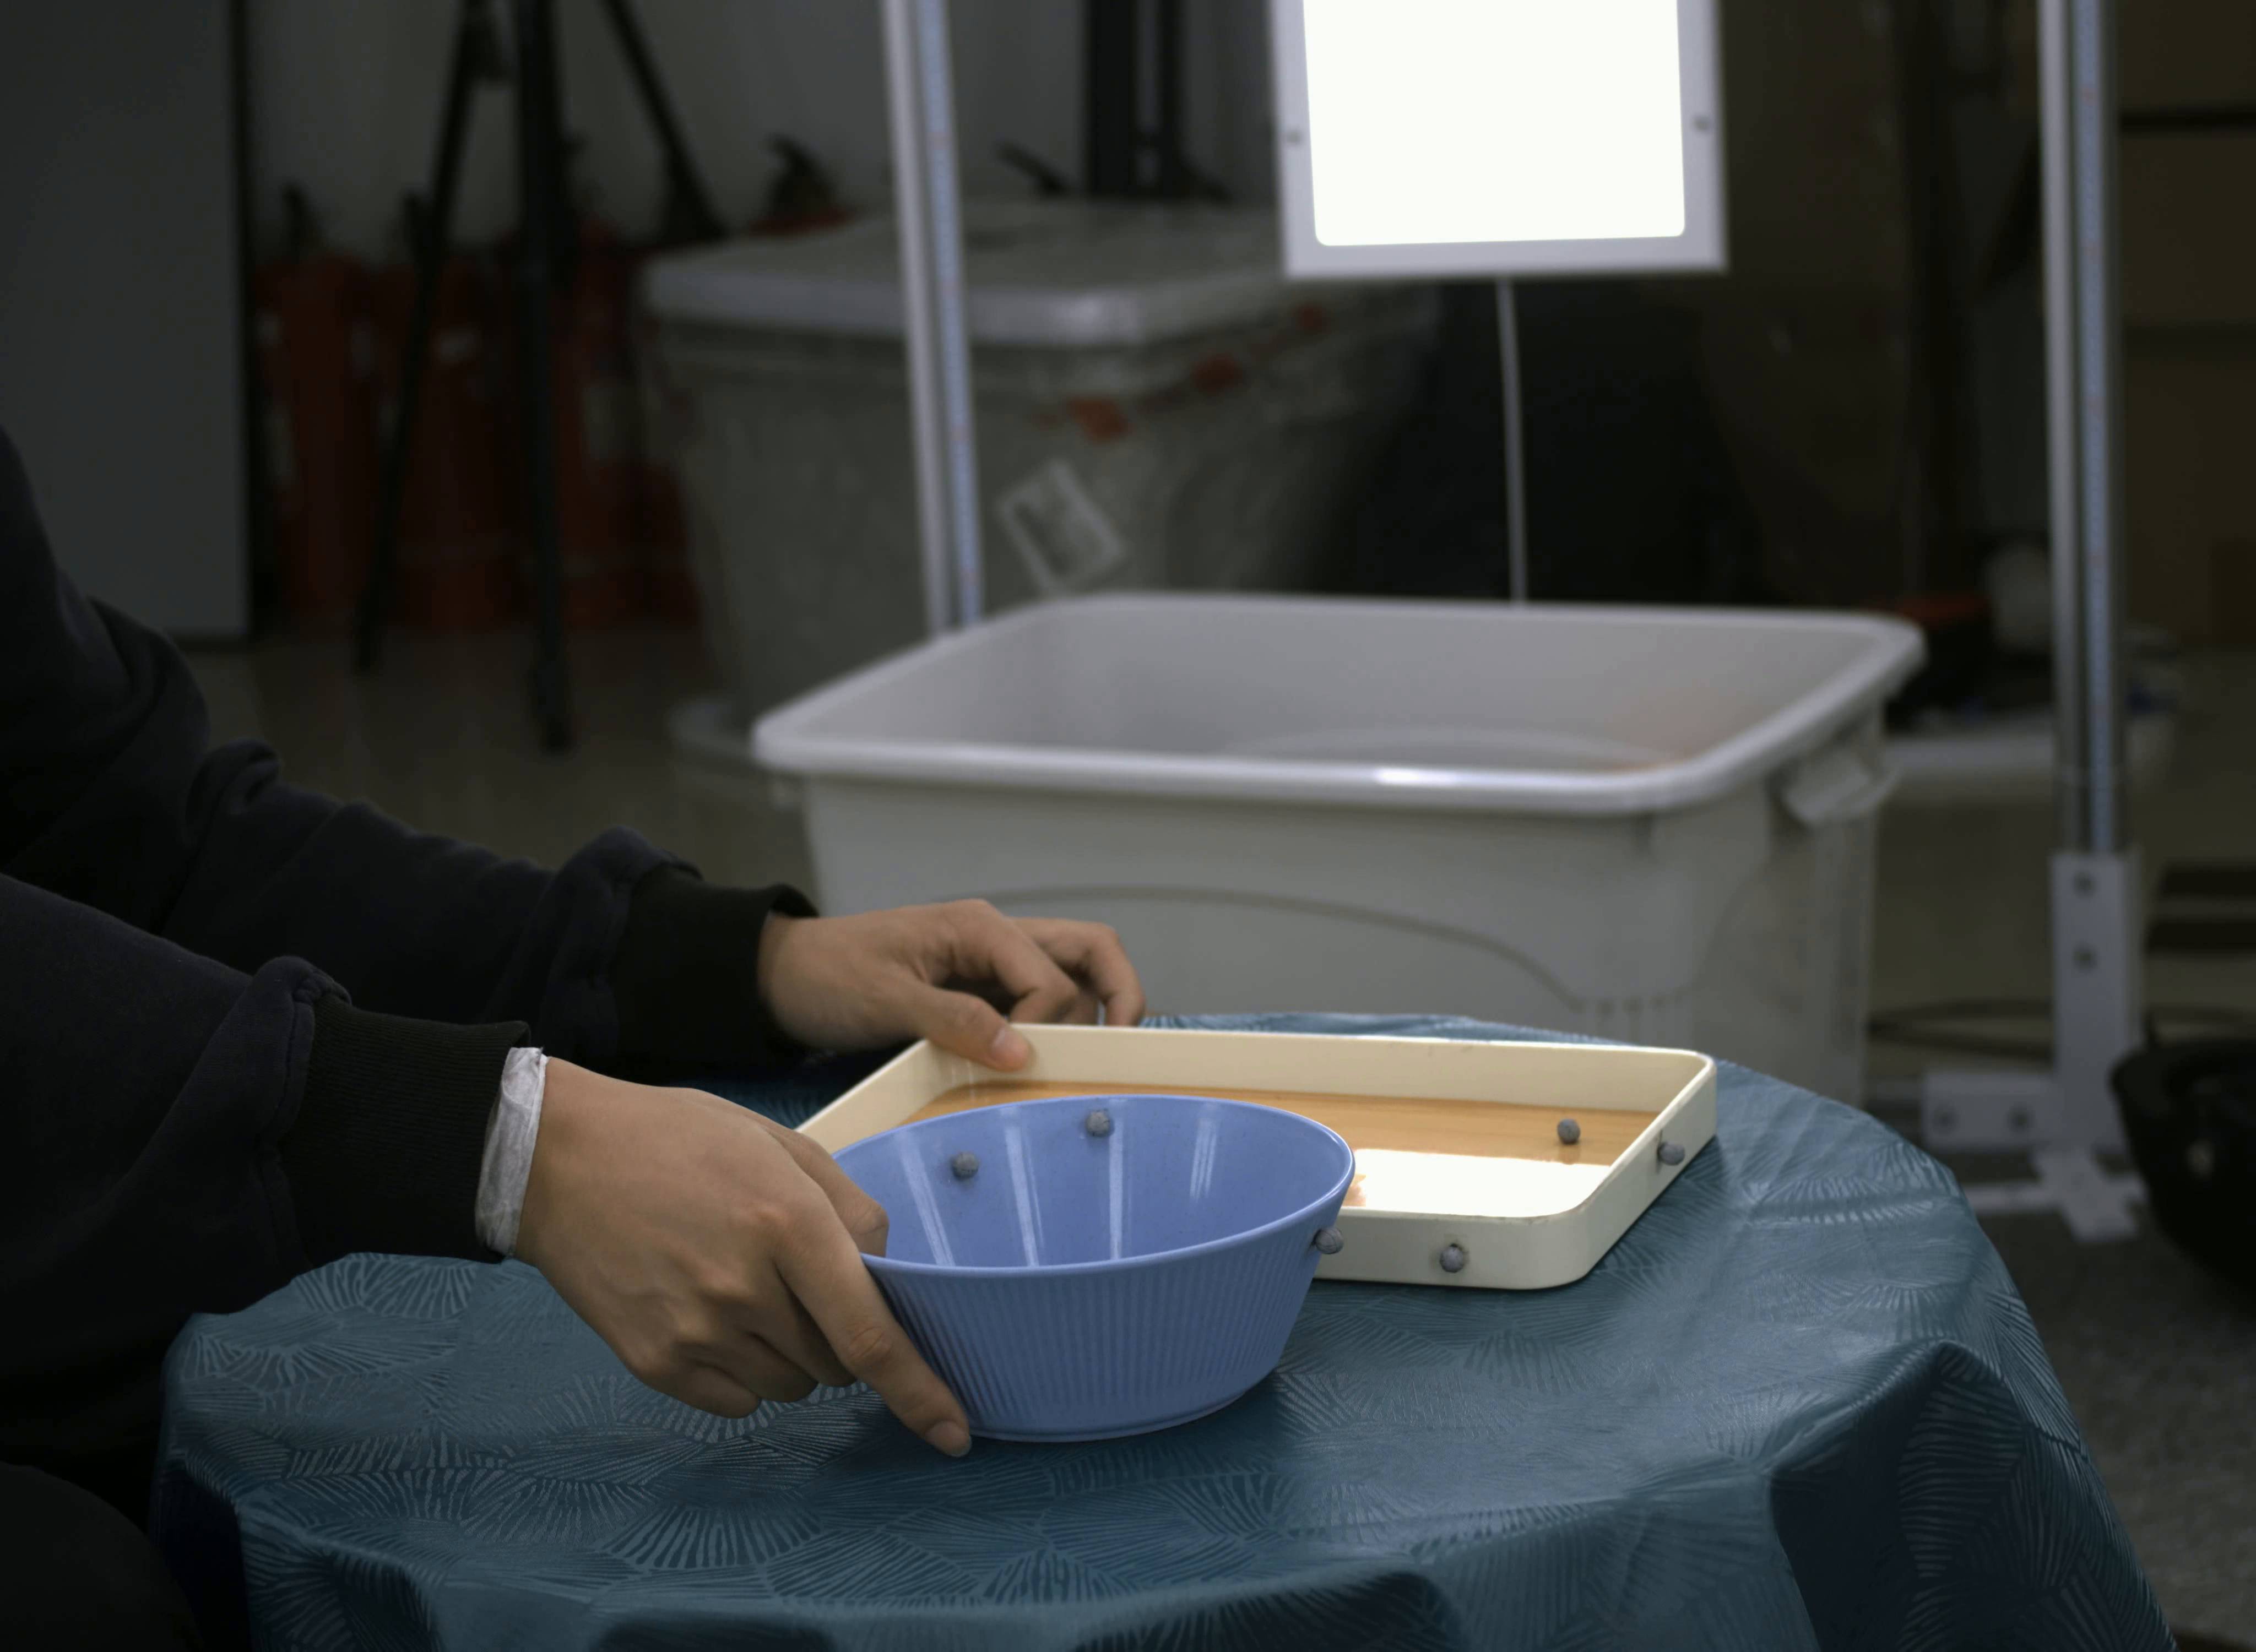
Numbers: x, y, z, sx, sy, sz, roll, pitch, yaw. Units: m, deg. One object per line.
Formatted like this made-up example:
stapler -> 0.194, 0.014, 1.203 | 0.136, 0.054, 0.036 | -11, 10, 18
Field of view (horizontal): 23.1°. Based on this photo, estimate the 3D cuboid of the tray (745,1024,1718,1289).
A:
tray -> 0.038, 0.111, 1.891 | 0.305, 0.027, 0.188 | 1, 15, 24

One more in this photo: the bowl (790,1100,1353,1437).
bowl -> -0.015, 0.139, 1.702 | 0.175, 0.070, 0.176 | -5, 12, 0
